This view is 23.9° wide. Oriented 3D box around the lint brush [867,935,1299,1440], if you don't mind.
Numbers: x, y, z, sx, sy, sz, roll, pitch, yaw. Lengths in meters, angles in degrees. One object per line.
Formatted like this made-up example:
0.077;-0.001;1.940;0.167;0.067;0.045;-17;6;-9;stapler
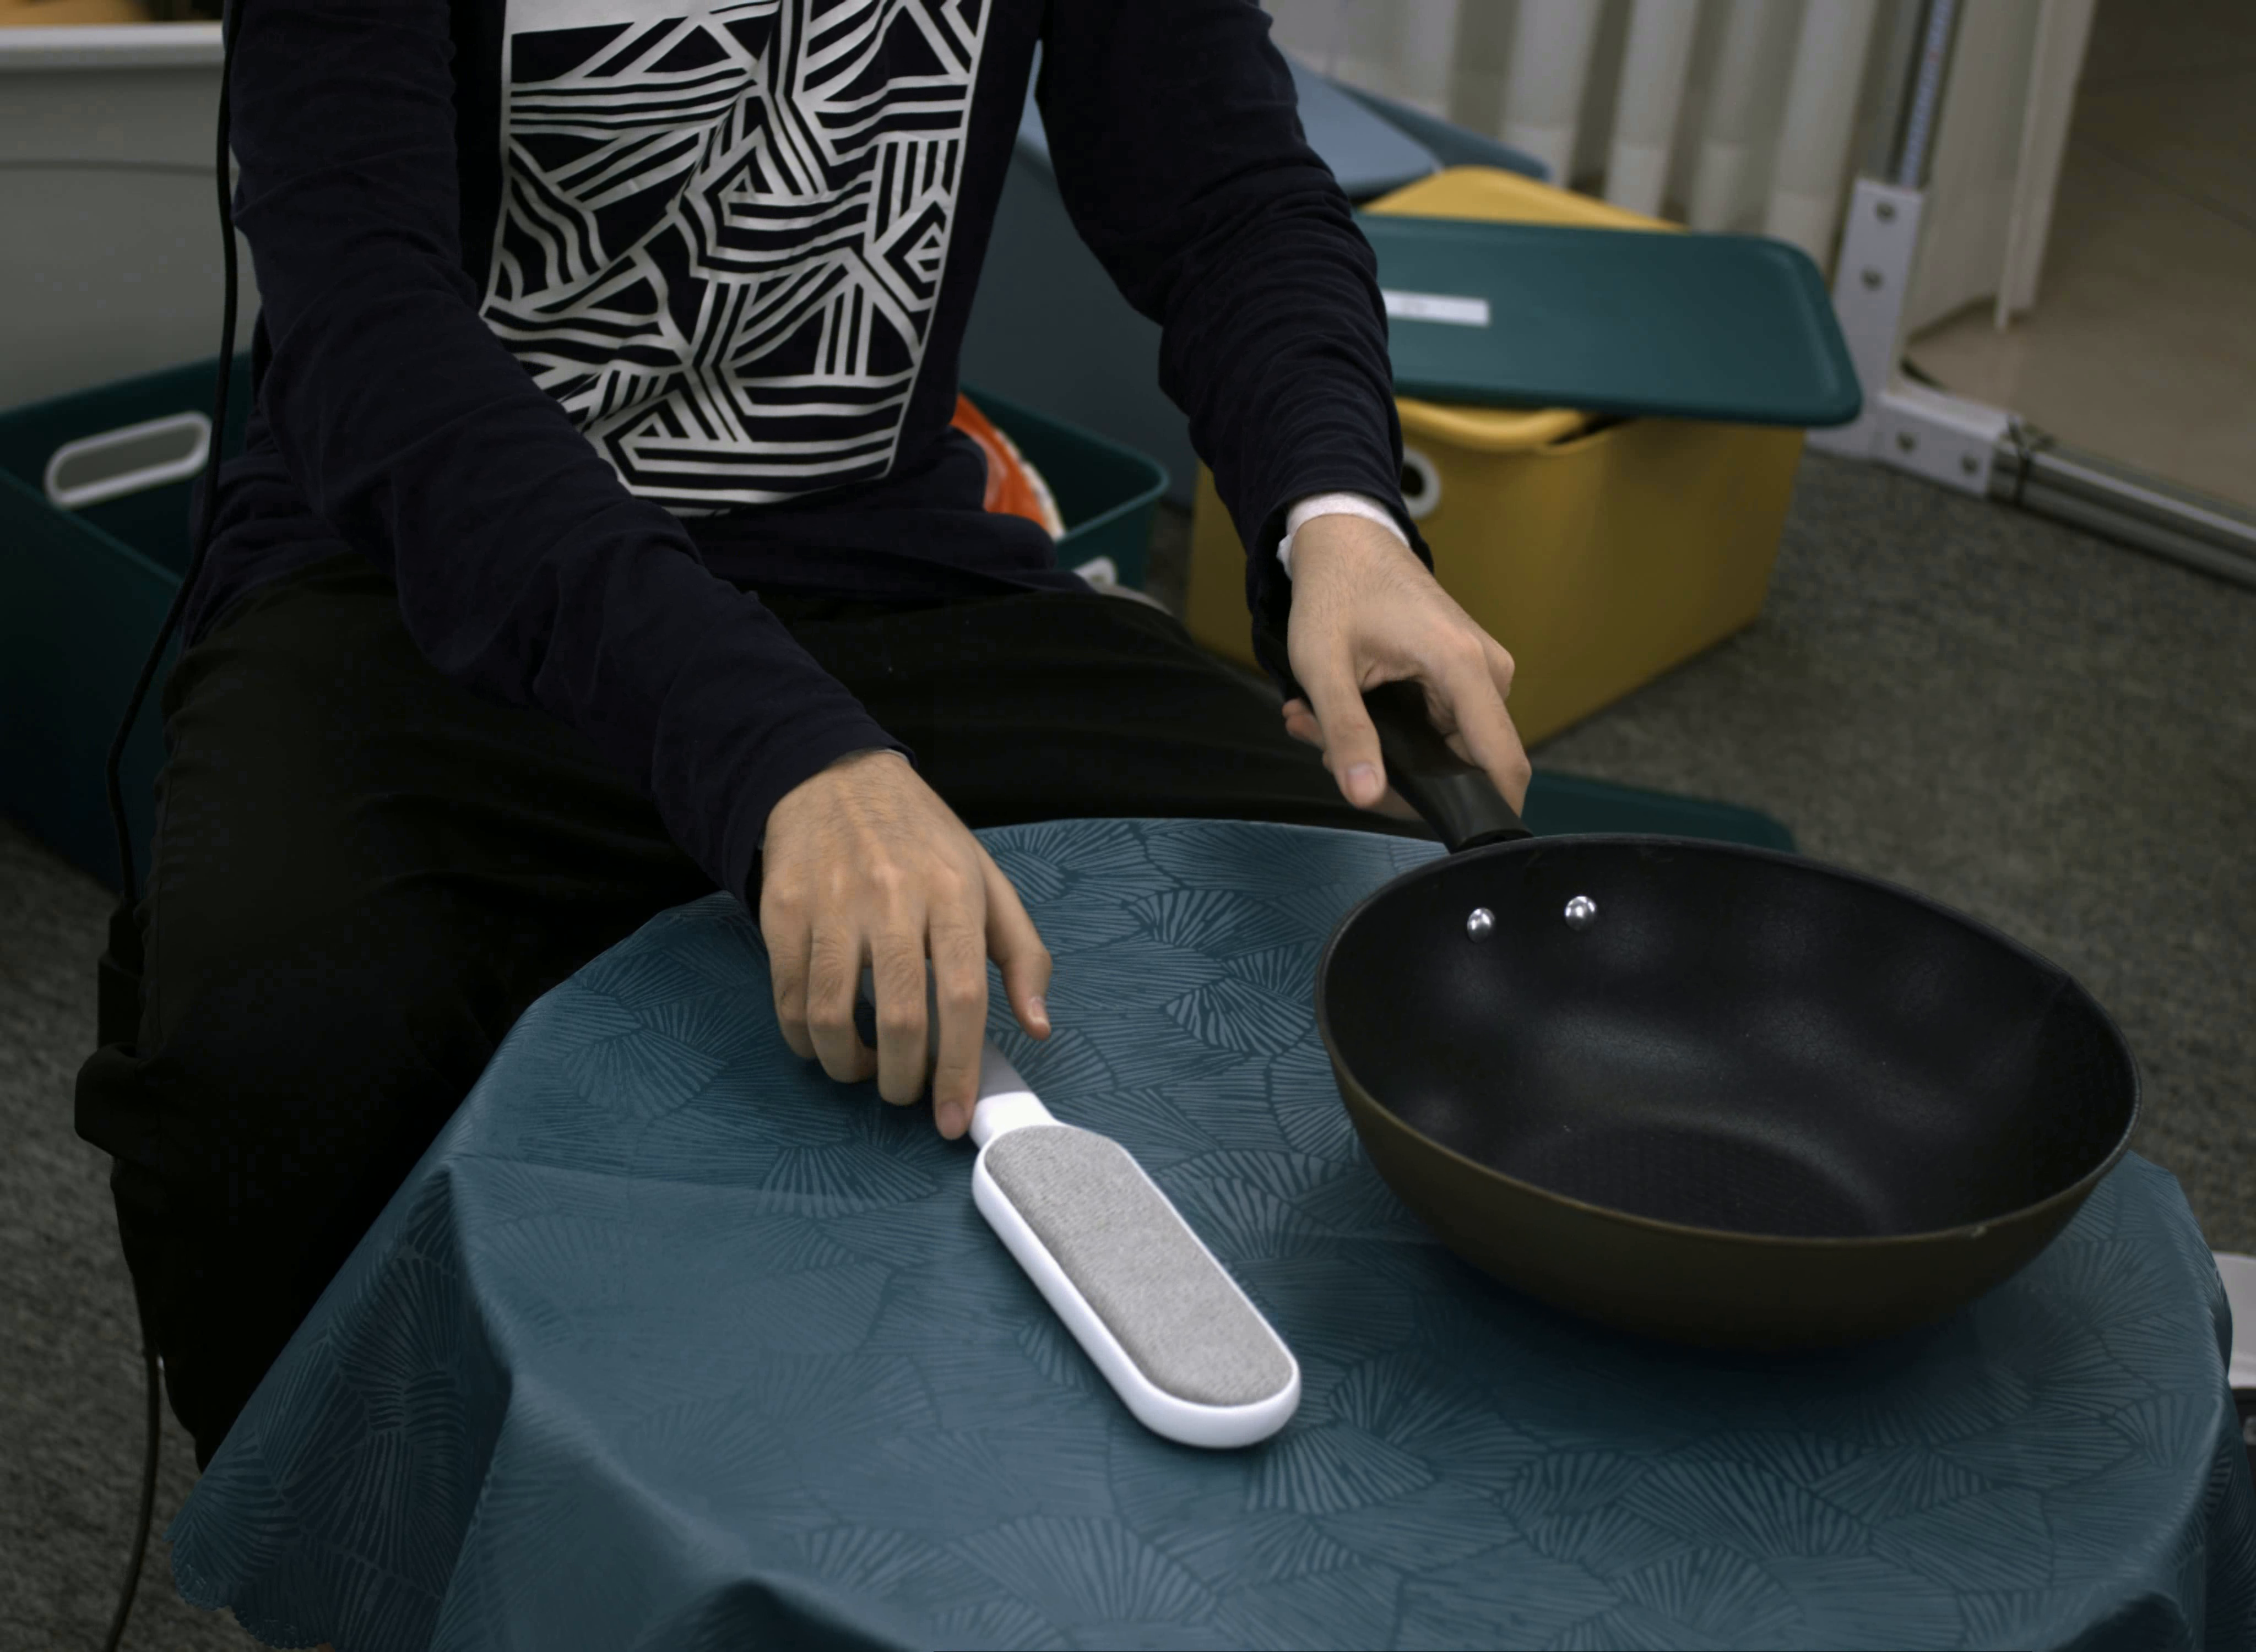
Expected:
-0.023;0.115;1.783;0.060;0.021;0.312;-13;32;-20;lint brush

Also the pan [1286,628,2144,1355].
0.157;0.060;1.874;0.286;0.086;0.467;-7;29;-25;pan
